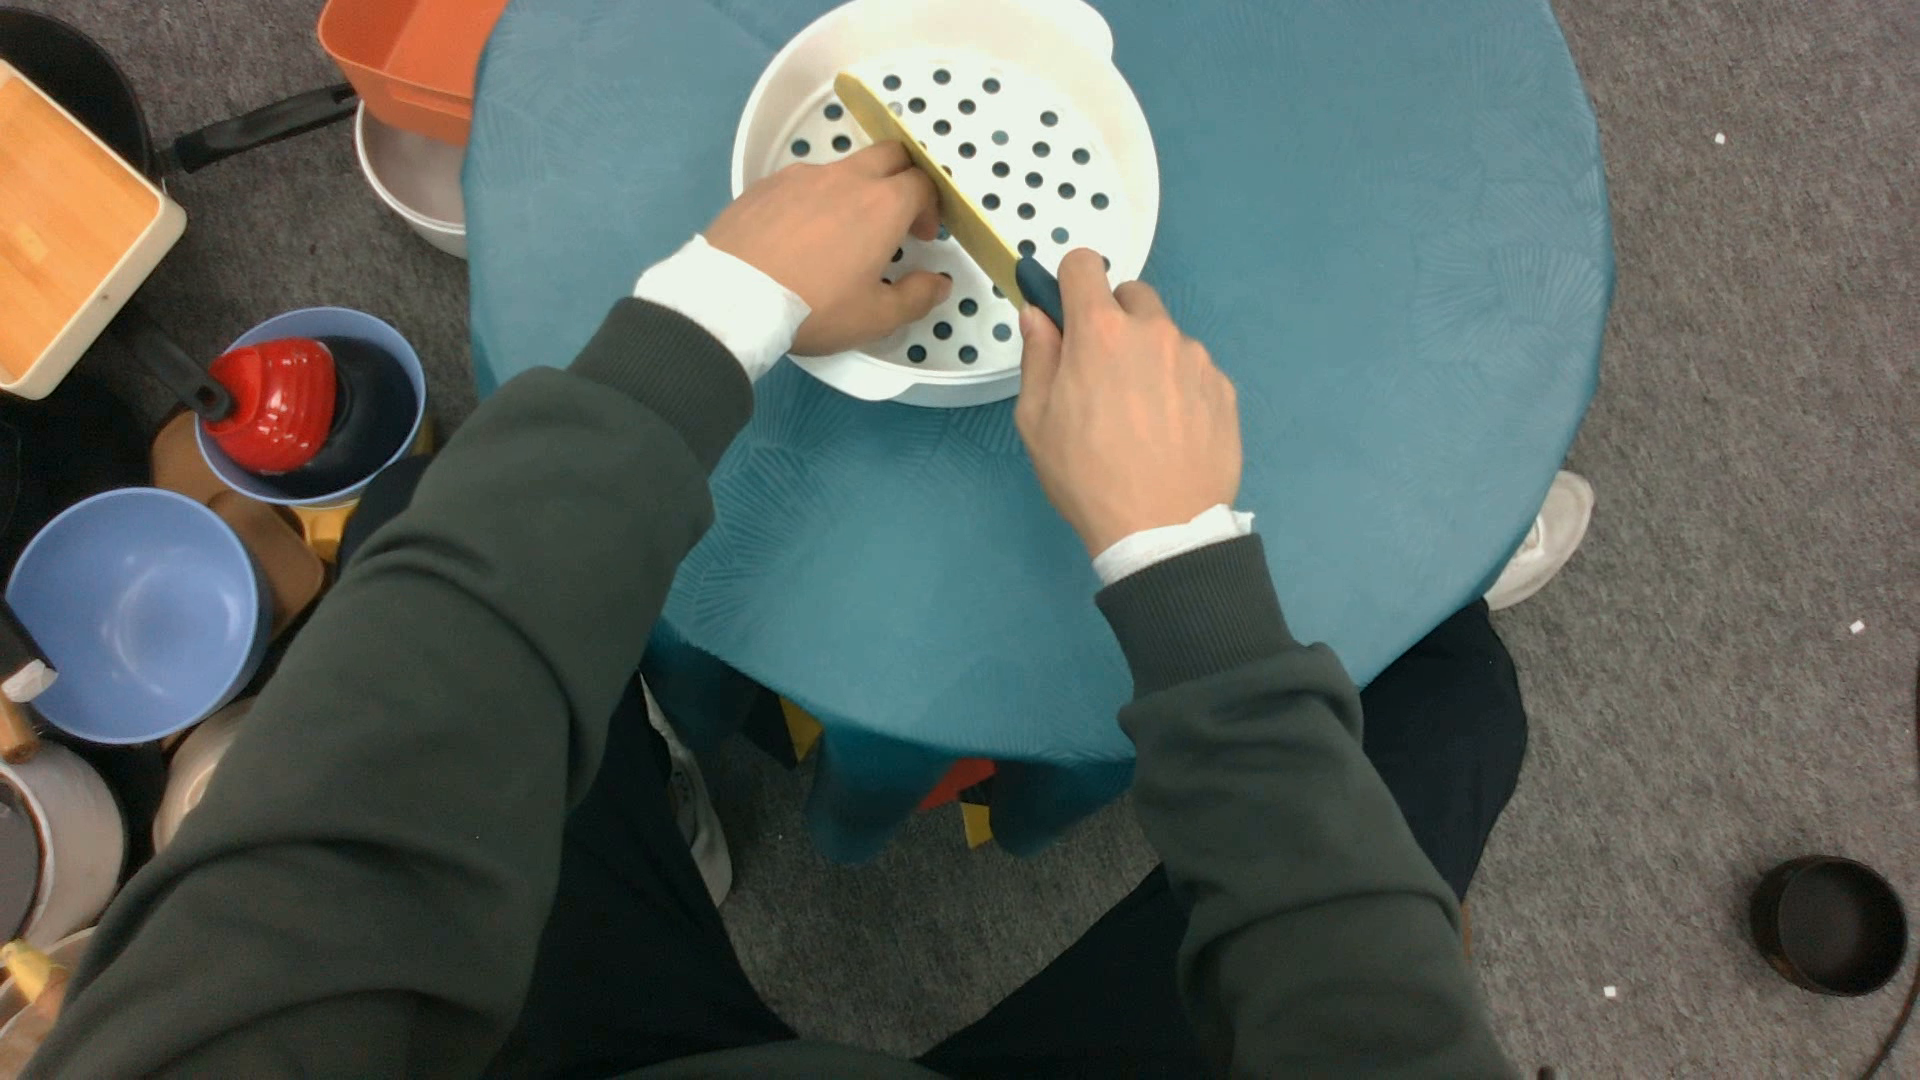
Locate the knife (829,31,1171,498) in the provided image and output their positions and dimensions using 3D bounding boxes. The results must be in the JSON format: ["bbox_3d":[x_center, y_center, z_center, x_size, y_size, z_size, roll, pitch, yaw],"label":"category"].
[{"bbox_3d":[0.010,-0.133,0.640,0.027,0.081,0.290,-33,72,-1],"label":"knife"}]

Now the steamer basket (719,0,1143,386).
[{"bbox_3d":[-0.014,-0.175,0.679,0.202,0.069,0.231,30,80,2],"label":"steamer basket"}]
